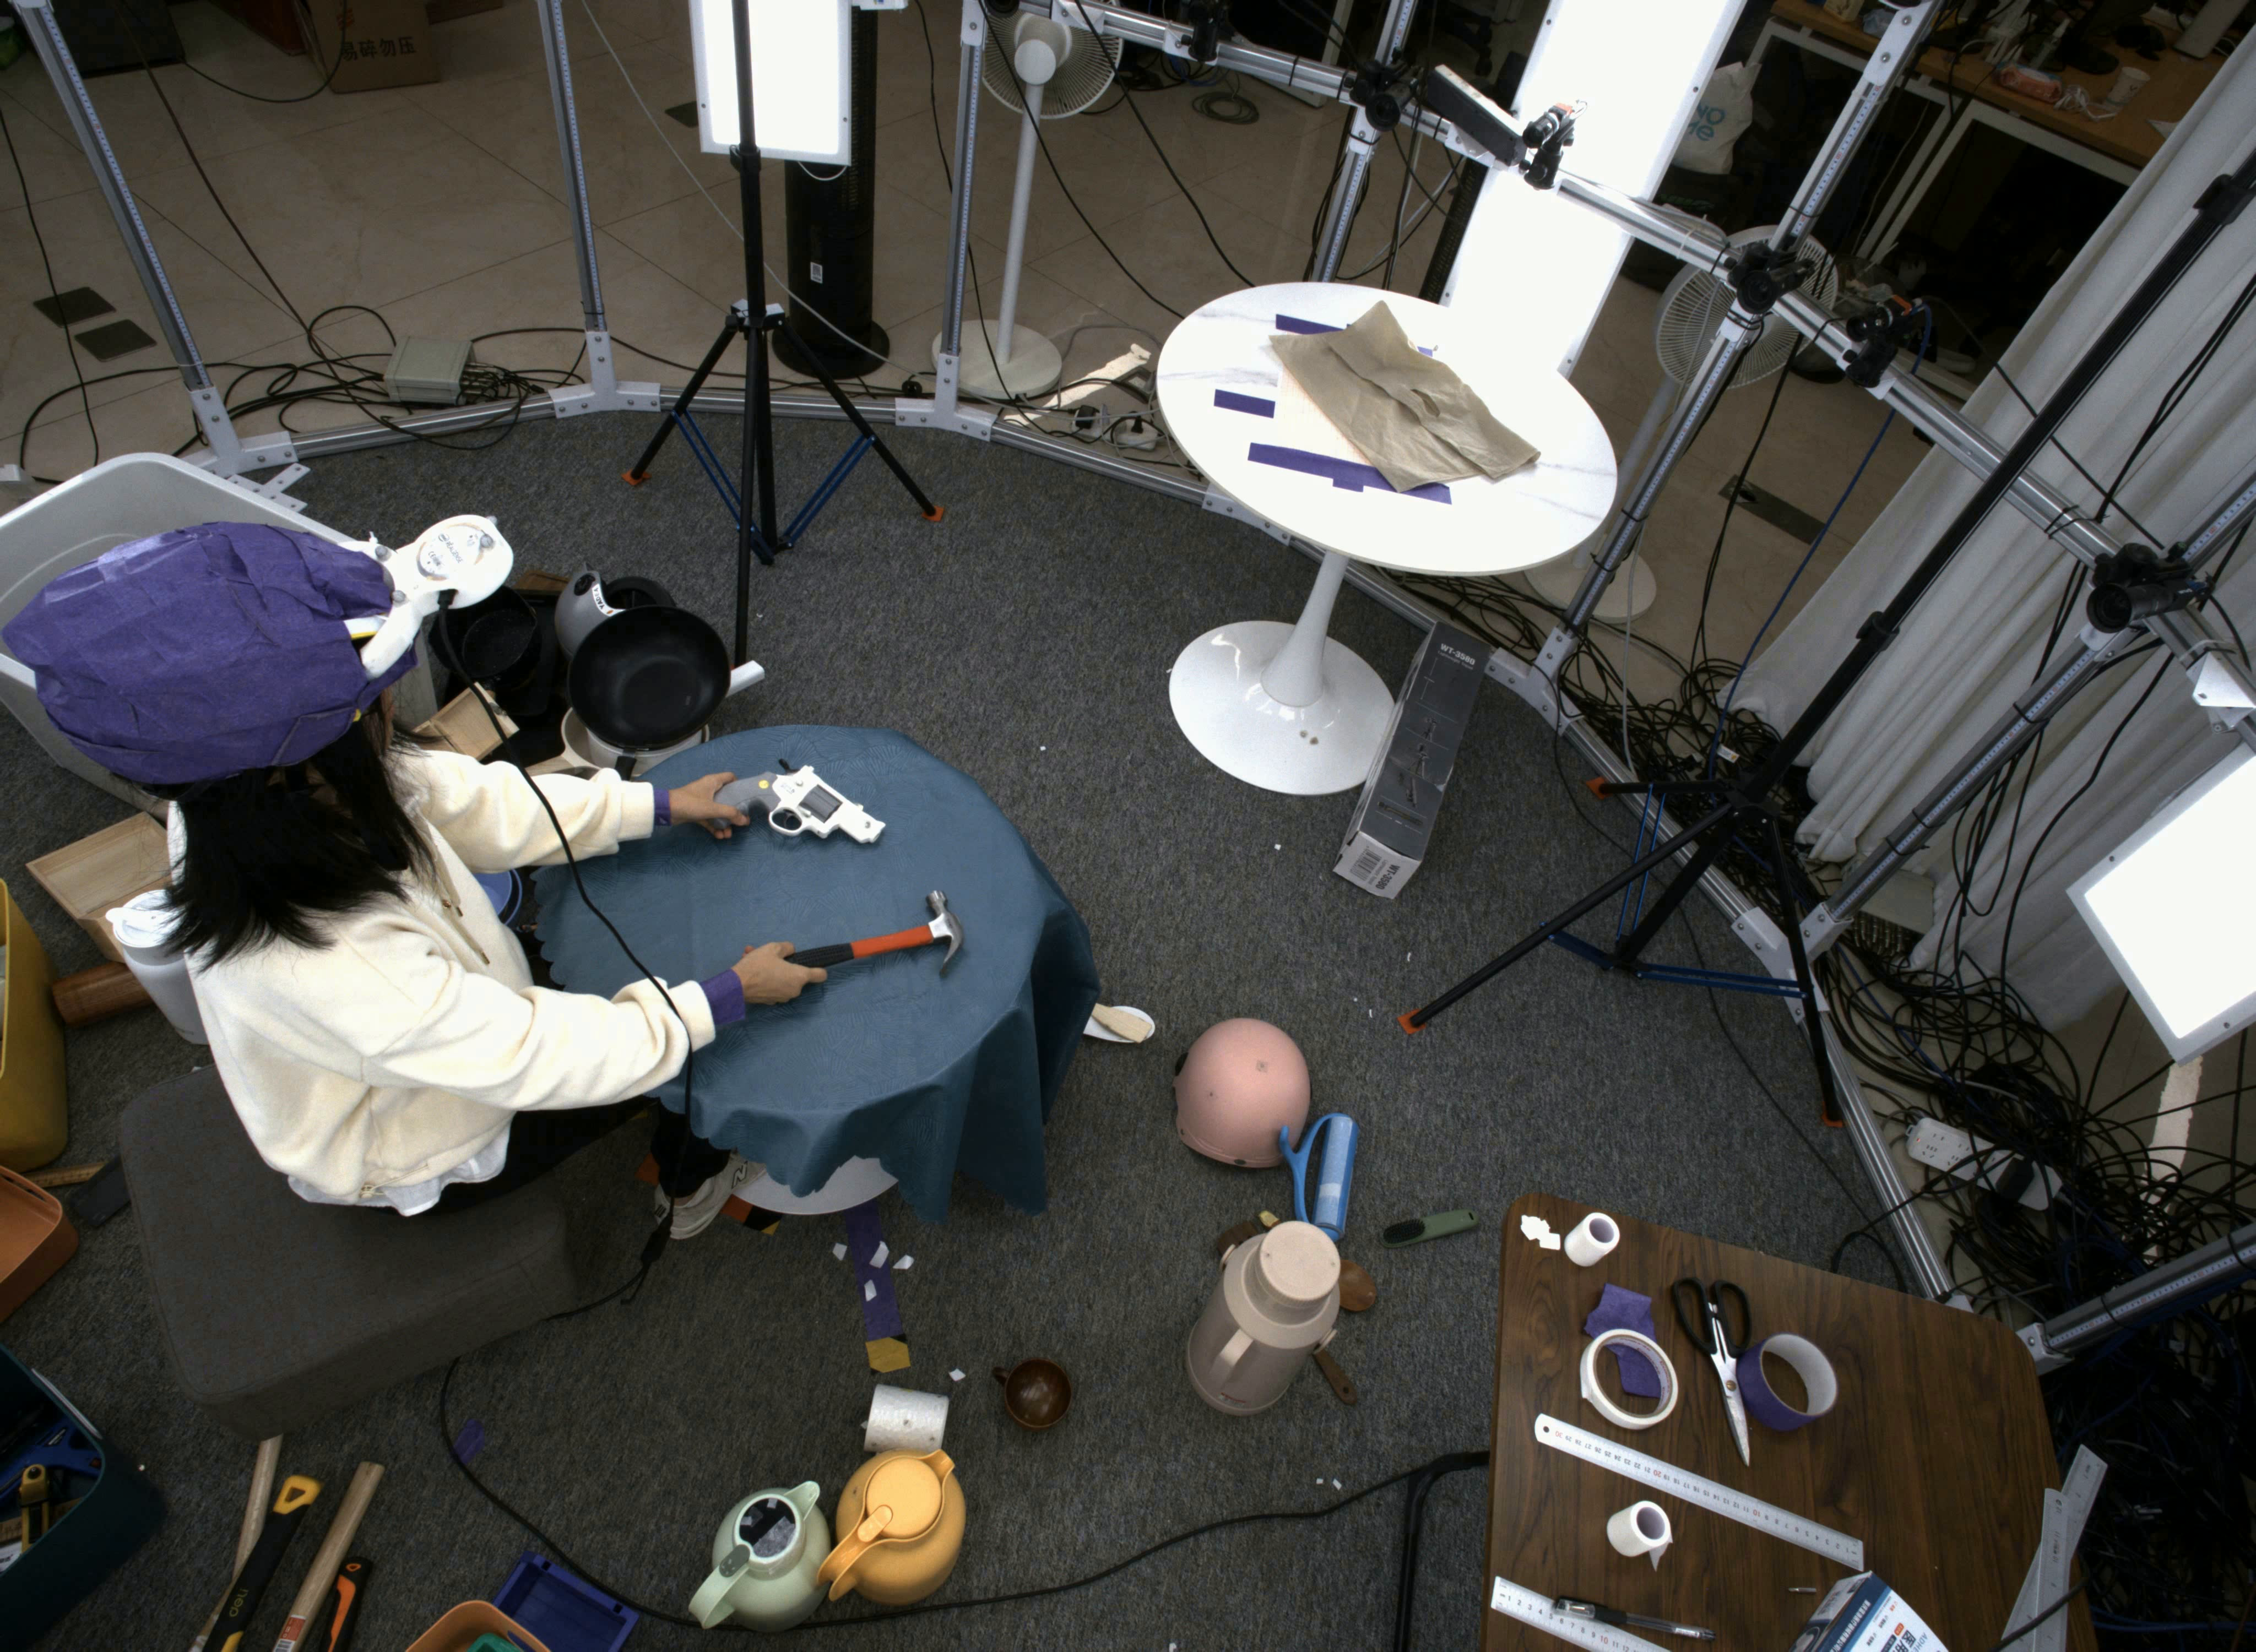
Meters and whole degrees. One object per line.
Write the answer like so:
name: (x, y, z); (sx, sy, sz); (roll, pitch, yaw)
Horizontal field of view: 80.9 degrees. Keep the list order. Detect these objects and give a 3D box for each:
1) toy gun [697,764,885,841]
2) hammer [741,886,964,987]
toy gun: (-0.440, -0.015, 1.693); (0.208, 0.039, 0.141); (34, 57, -1)
hammer: (-0.334, 0.150, 1.595); (0.280, 0.026, 0.109); (-12, 67, -29)
